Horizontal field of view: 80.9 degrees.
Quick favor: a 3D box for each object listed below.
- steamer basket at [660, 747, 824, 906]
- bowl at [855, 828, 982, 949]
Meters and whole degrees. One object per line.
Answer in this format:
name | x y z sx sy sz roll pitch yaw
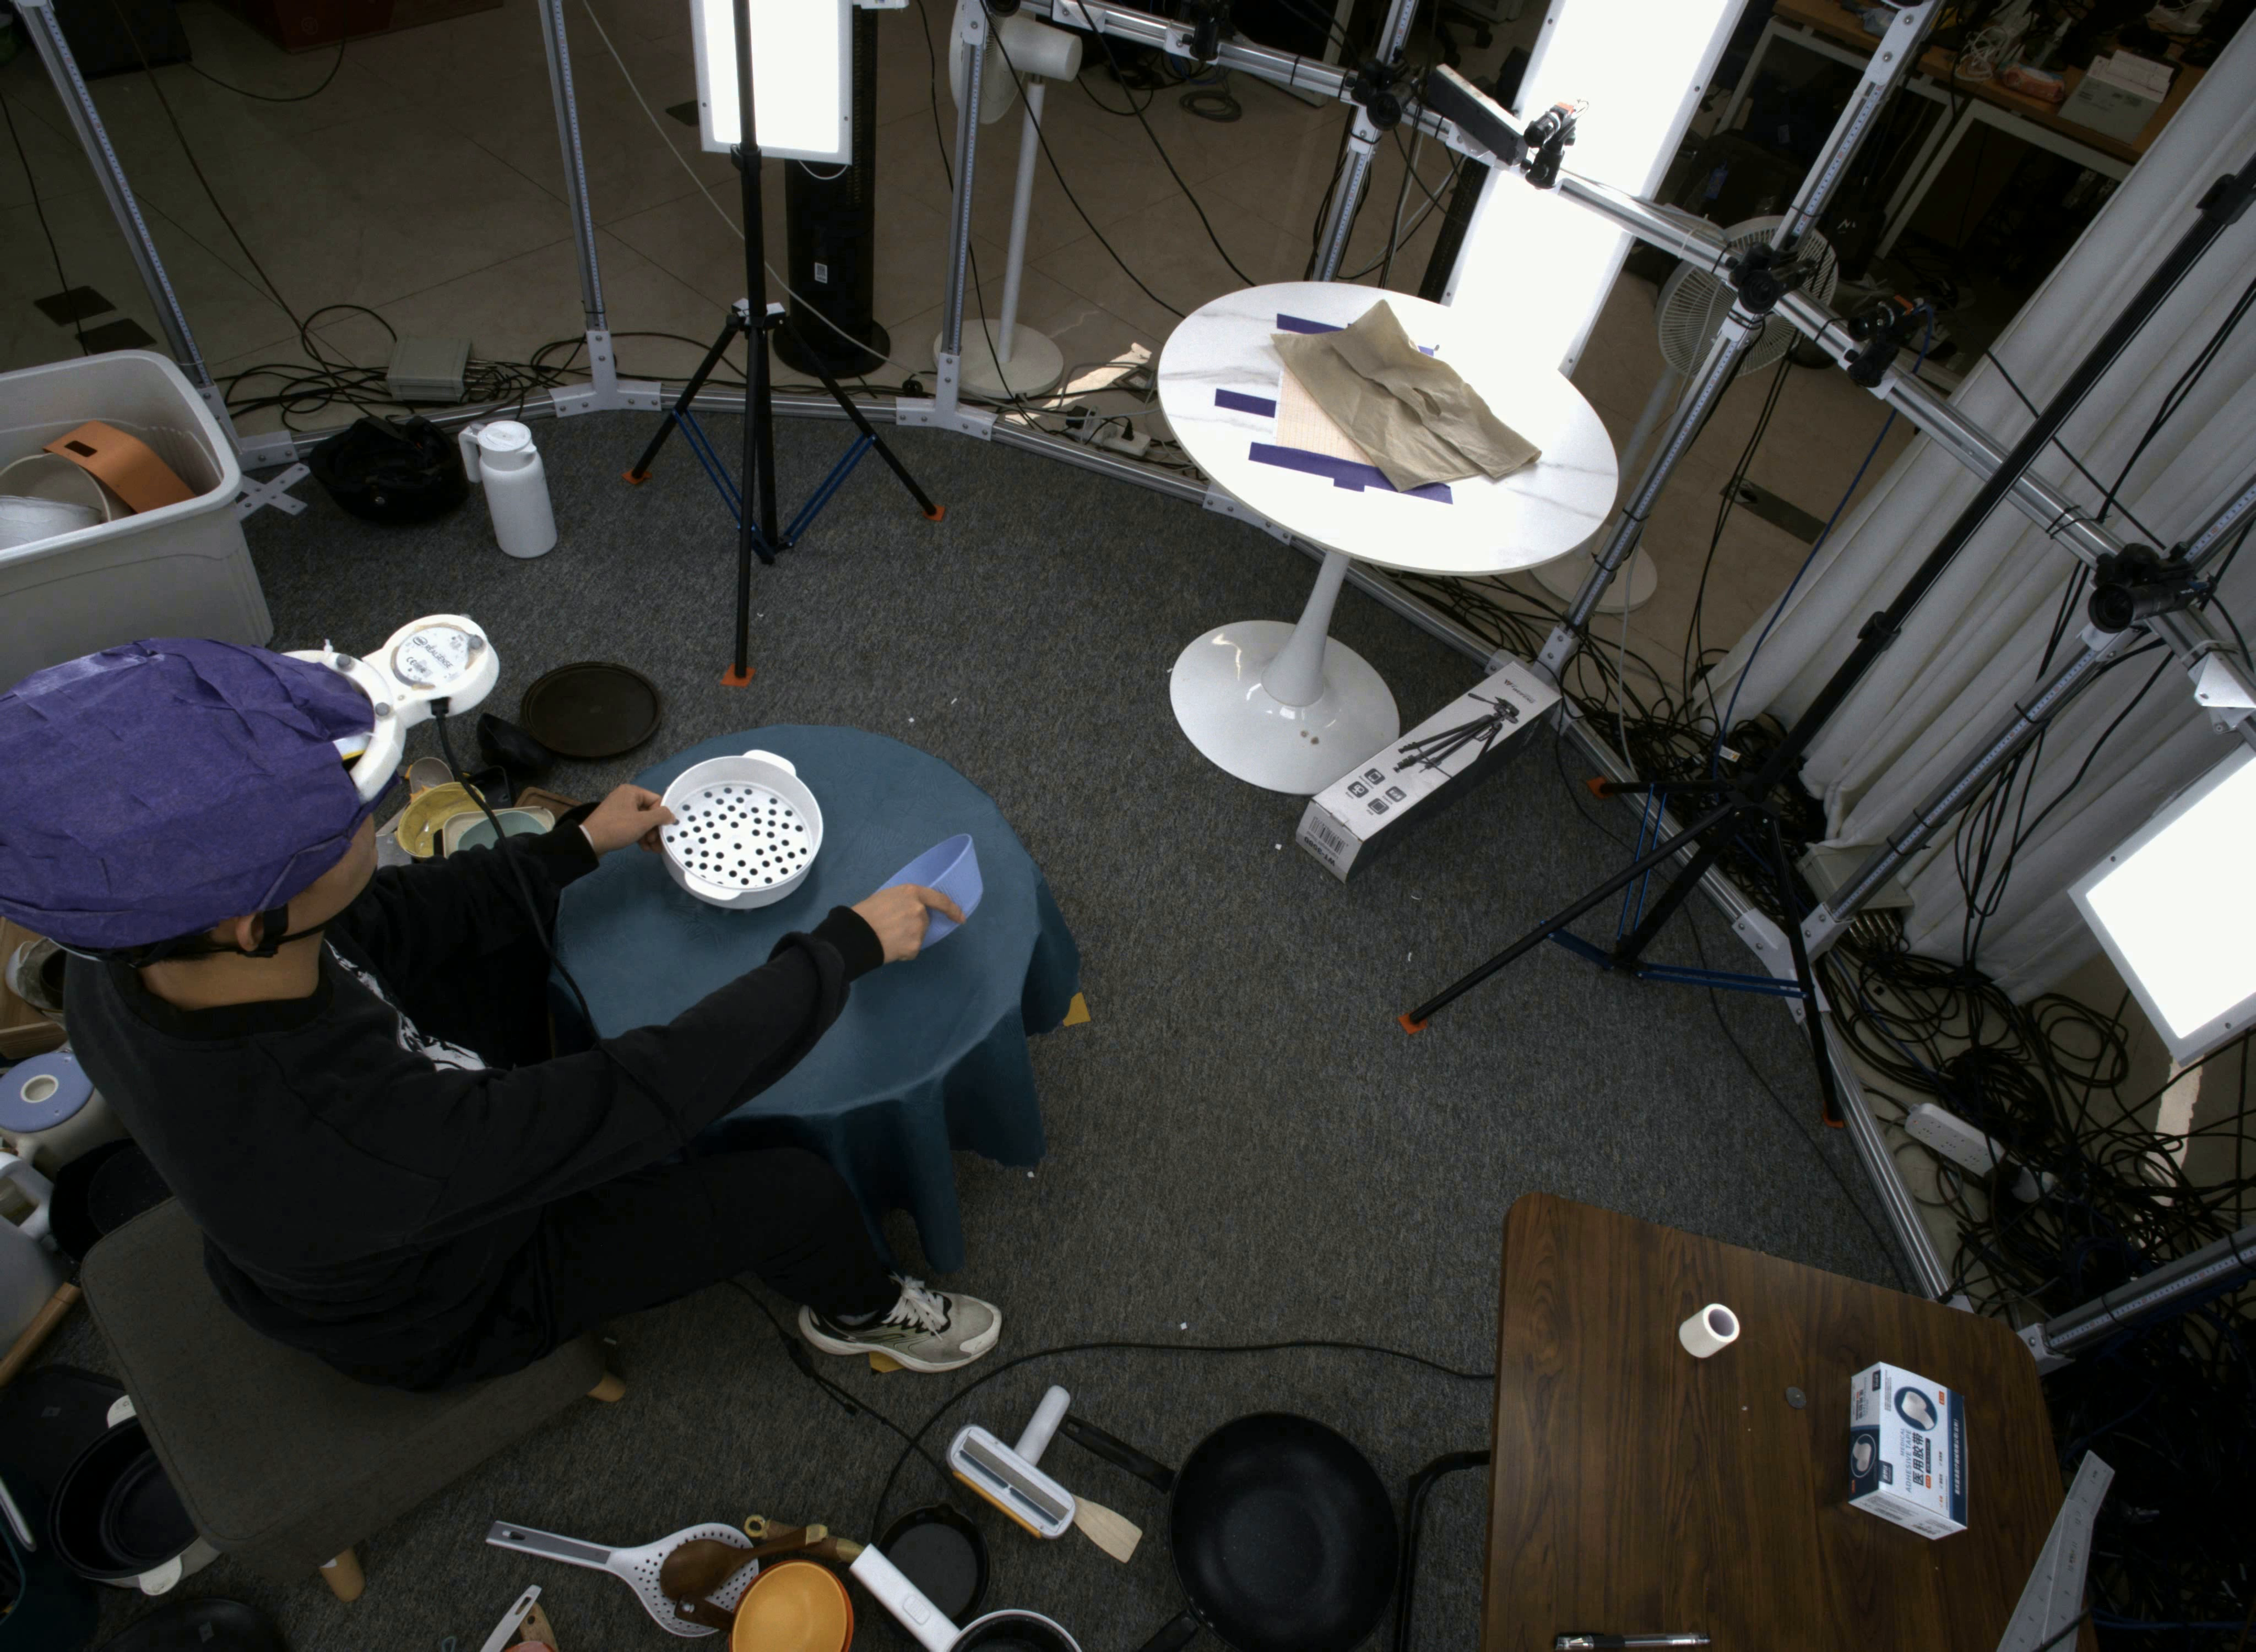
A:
steamer basket | -0.493 0.005 1.646 0.203 0.070 0.227 21 51 -11
bowl | -0.241 0.084 1.570 0.072 0.172 0.175 52 51 -15
